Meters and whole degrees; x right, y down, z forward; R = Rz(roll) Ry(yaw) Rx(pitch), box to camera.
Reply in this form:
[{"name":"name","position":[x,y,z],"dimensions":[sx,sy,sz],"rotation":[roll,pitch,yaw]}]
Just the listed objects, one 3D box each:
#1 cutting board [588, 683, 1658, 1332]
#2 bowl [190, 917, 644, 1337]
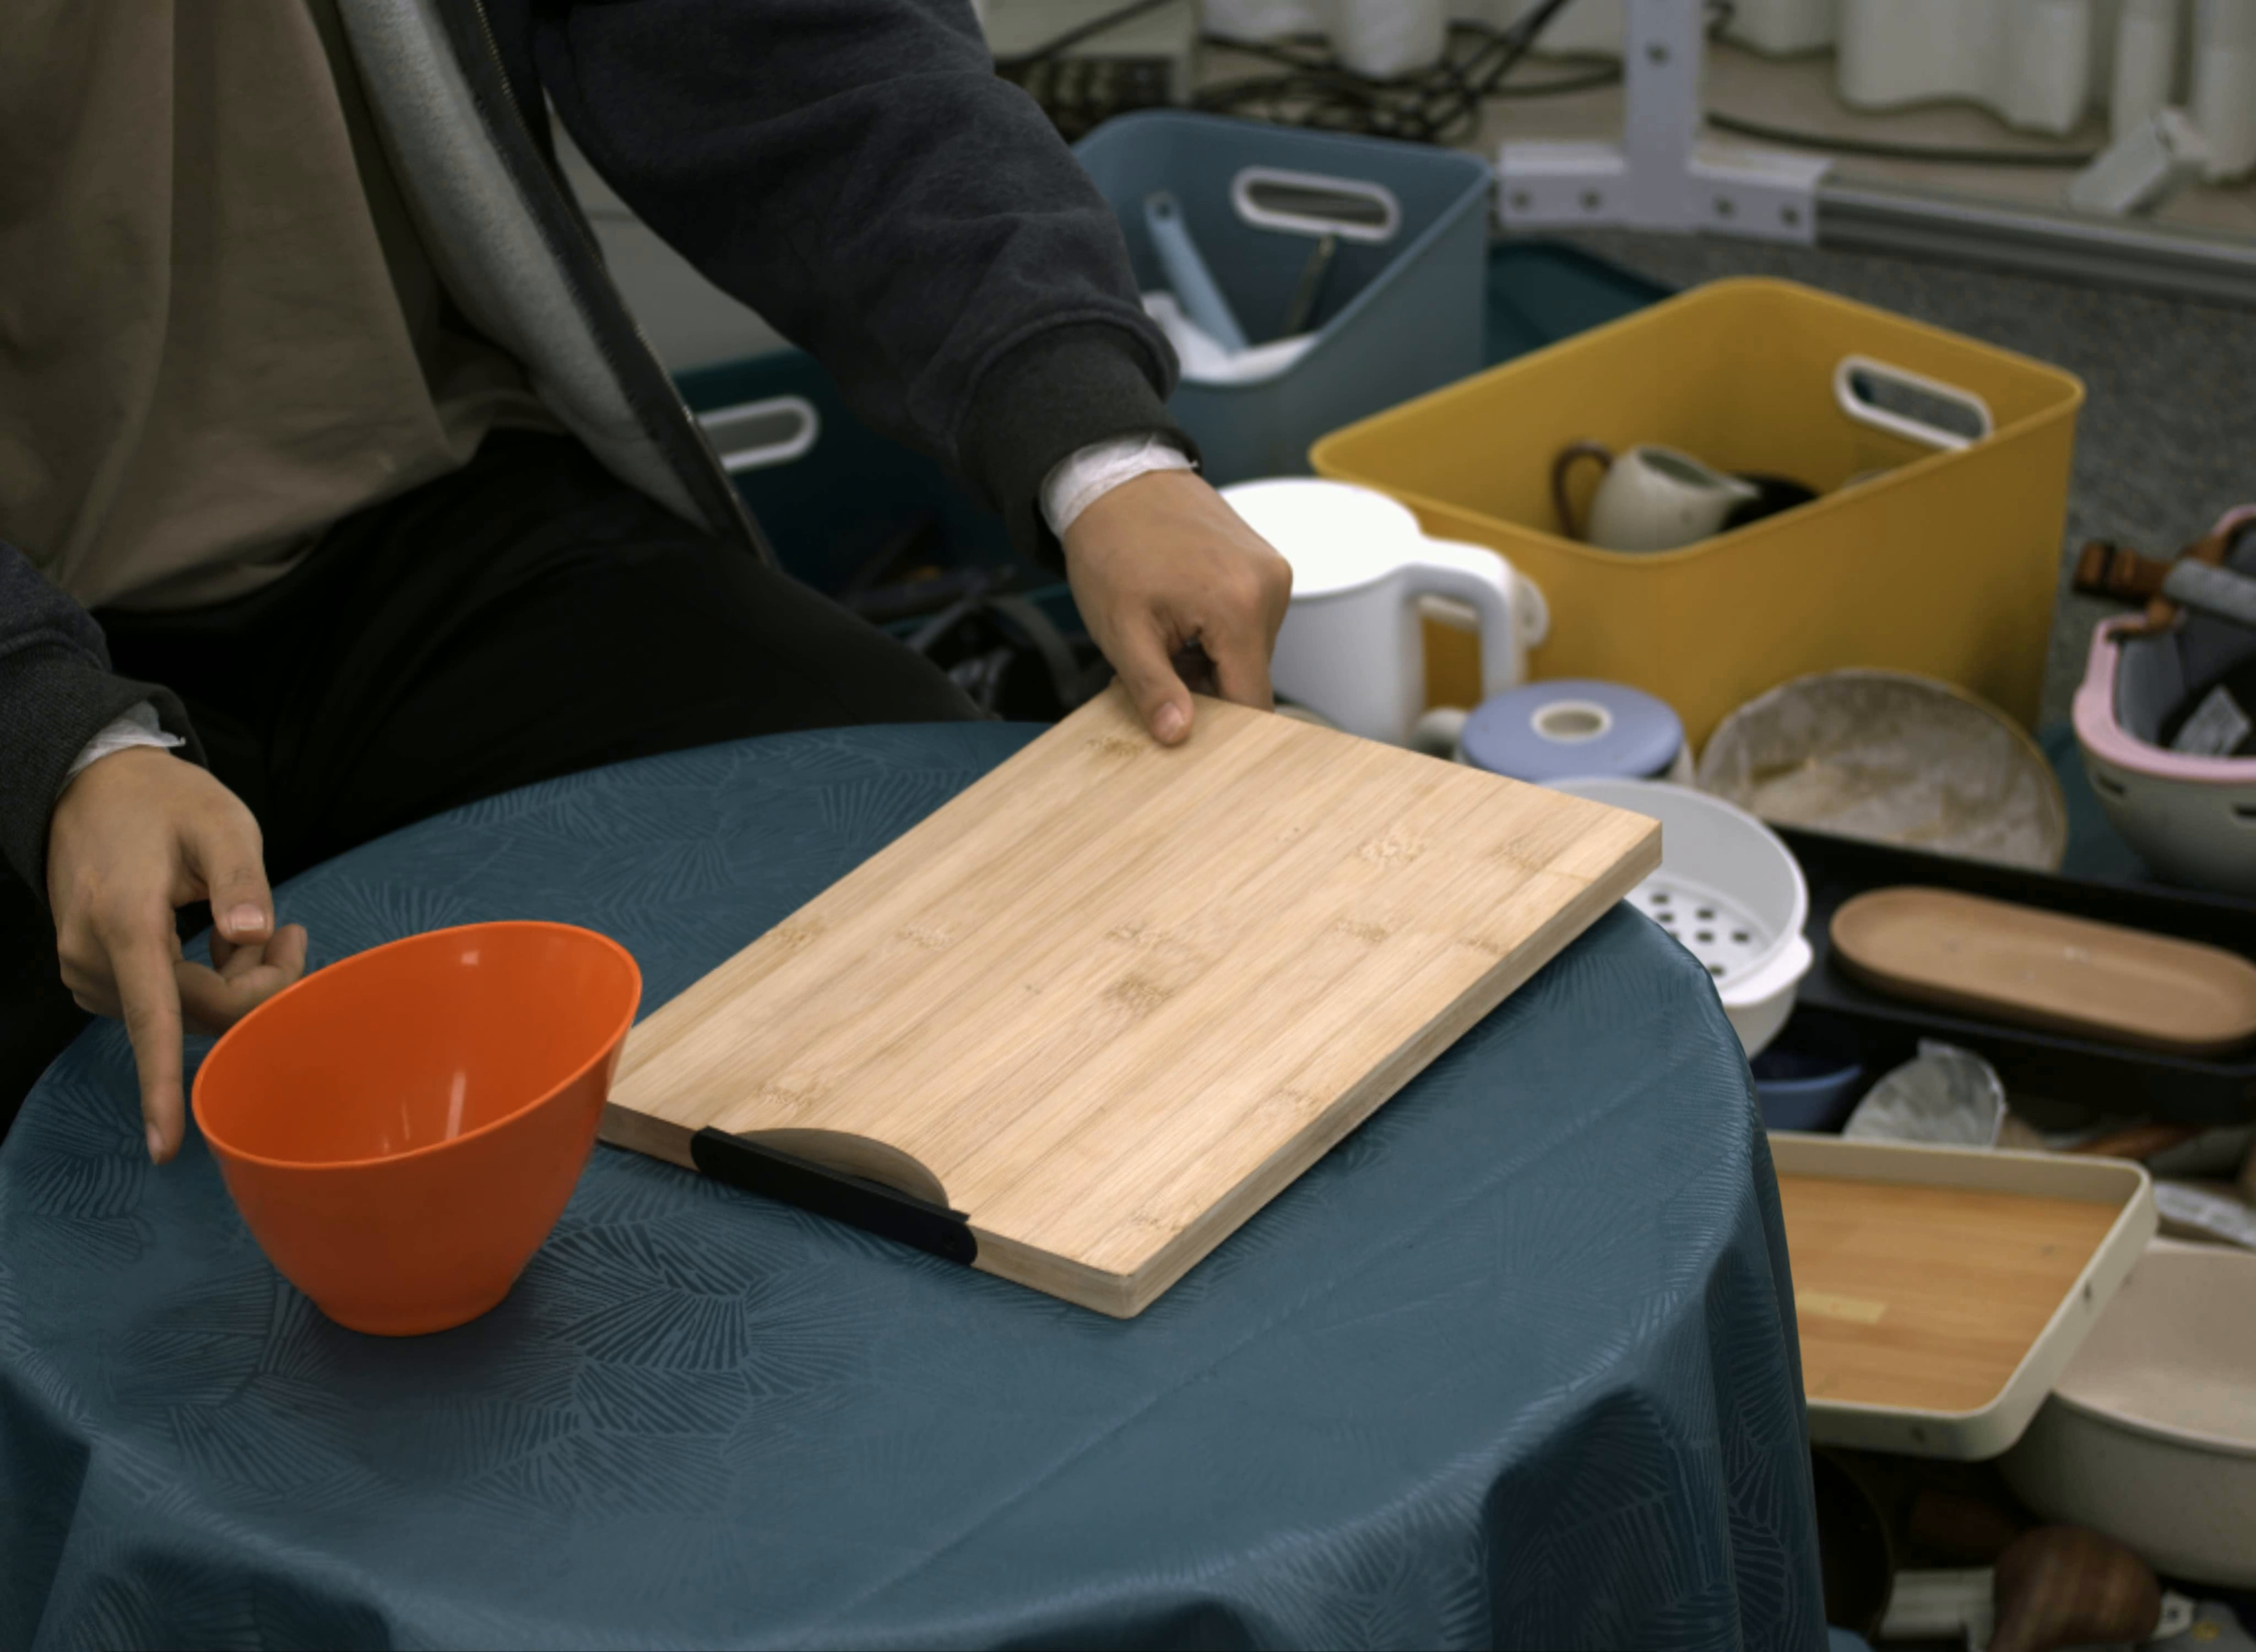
[{"name":"cutting board","position":[-0.004,0.054,1.968],"dimensions":[0.249,0.023,0.354],"rotation":[15,33,31]},{"name":"bowl","position":[-0.225,0.104,1.808],"dimensions":[0.147,0.103,0.150],"rotation":[-2,29,1]}]
